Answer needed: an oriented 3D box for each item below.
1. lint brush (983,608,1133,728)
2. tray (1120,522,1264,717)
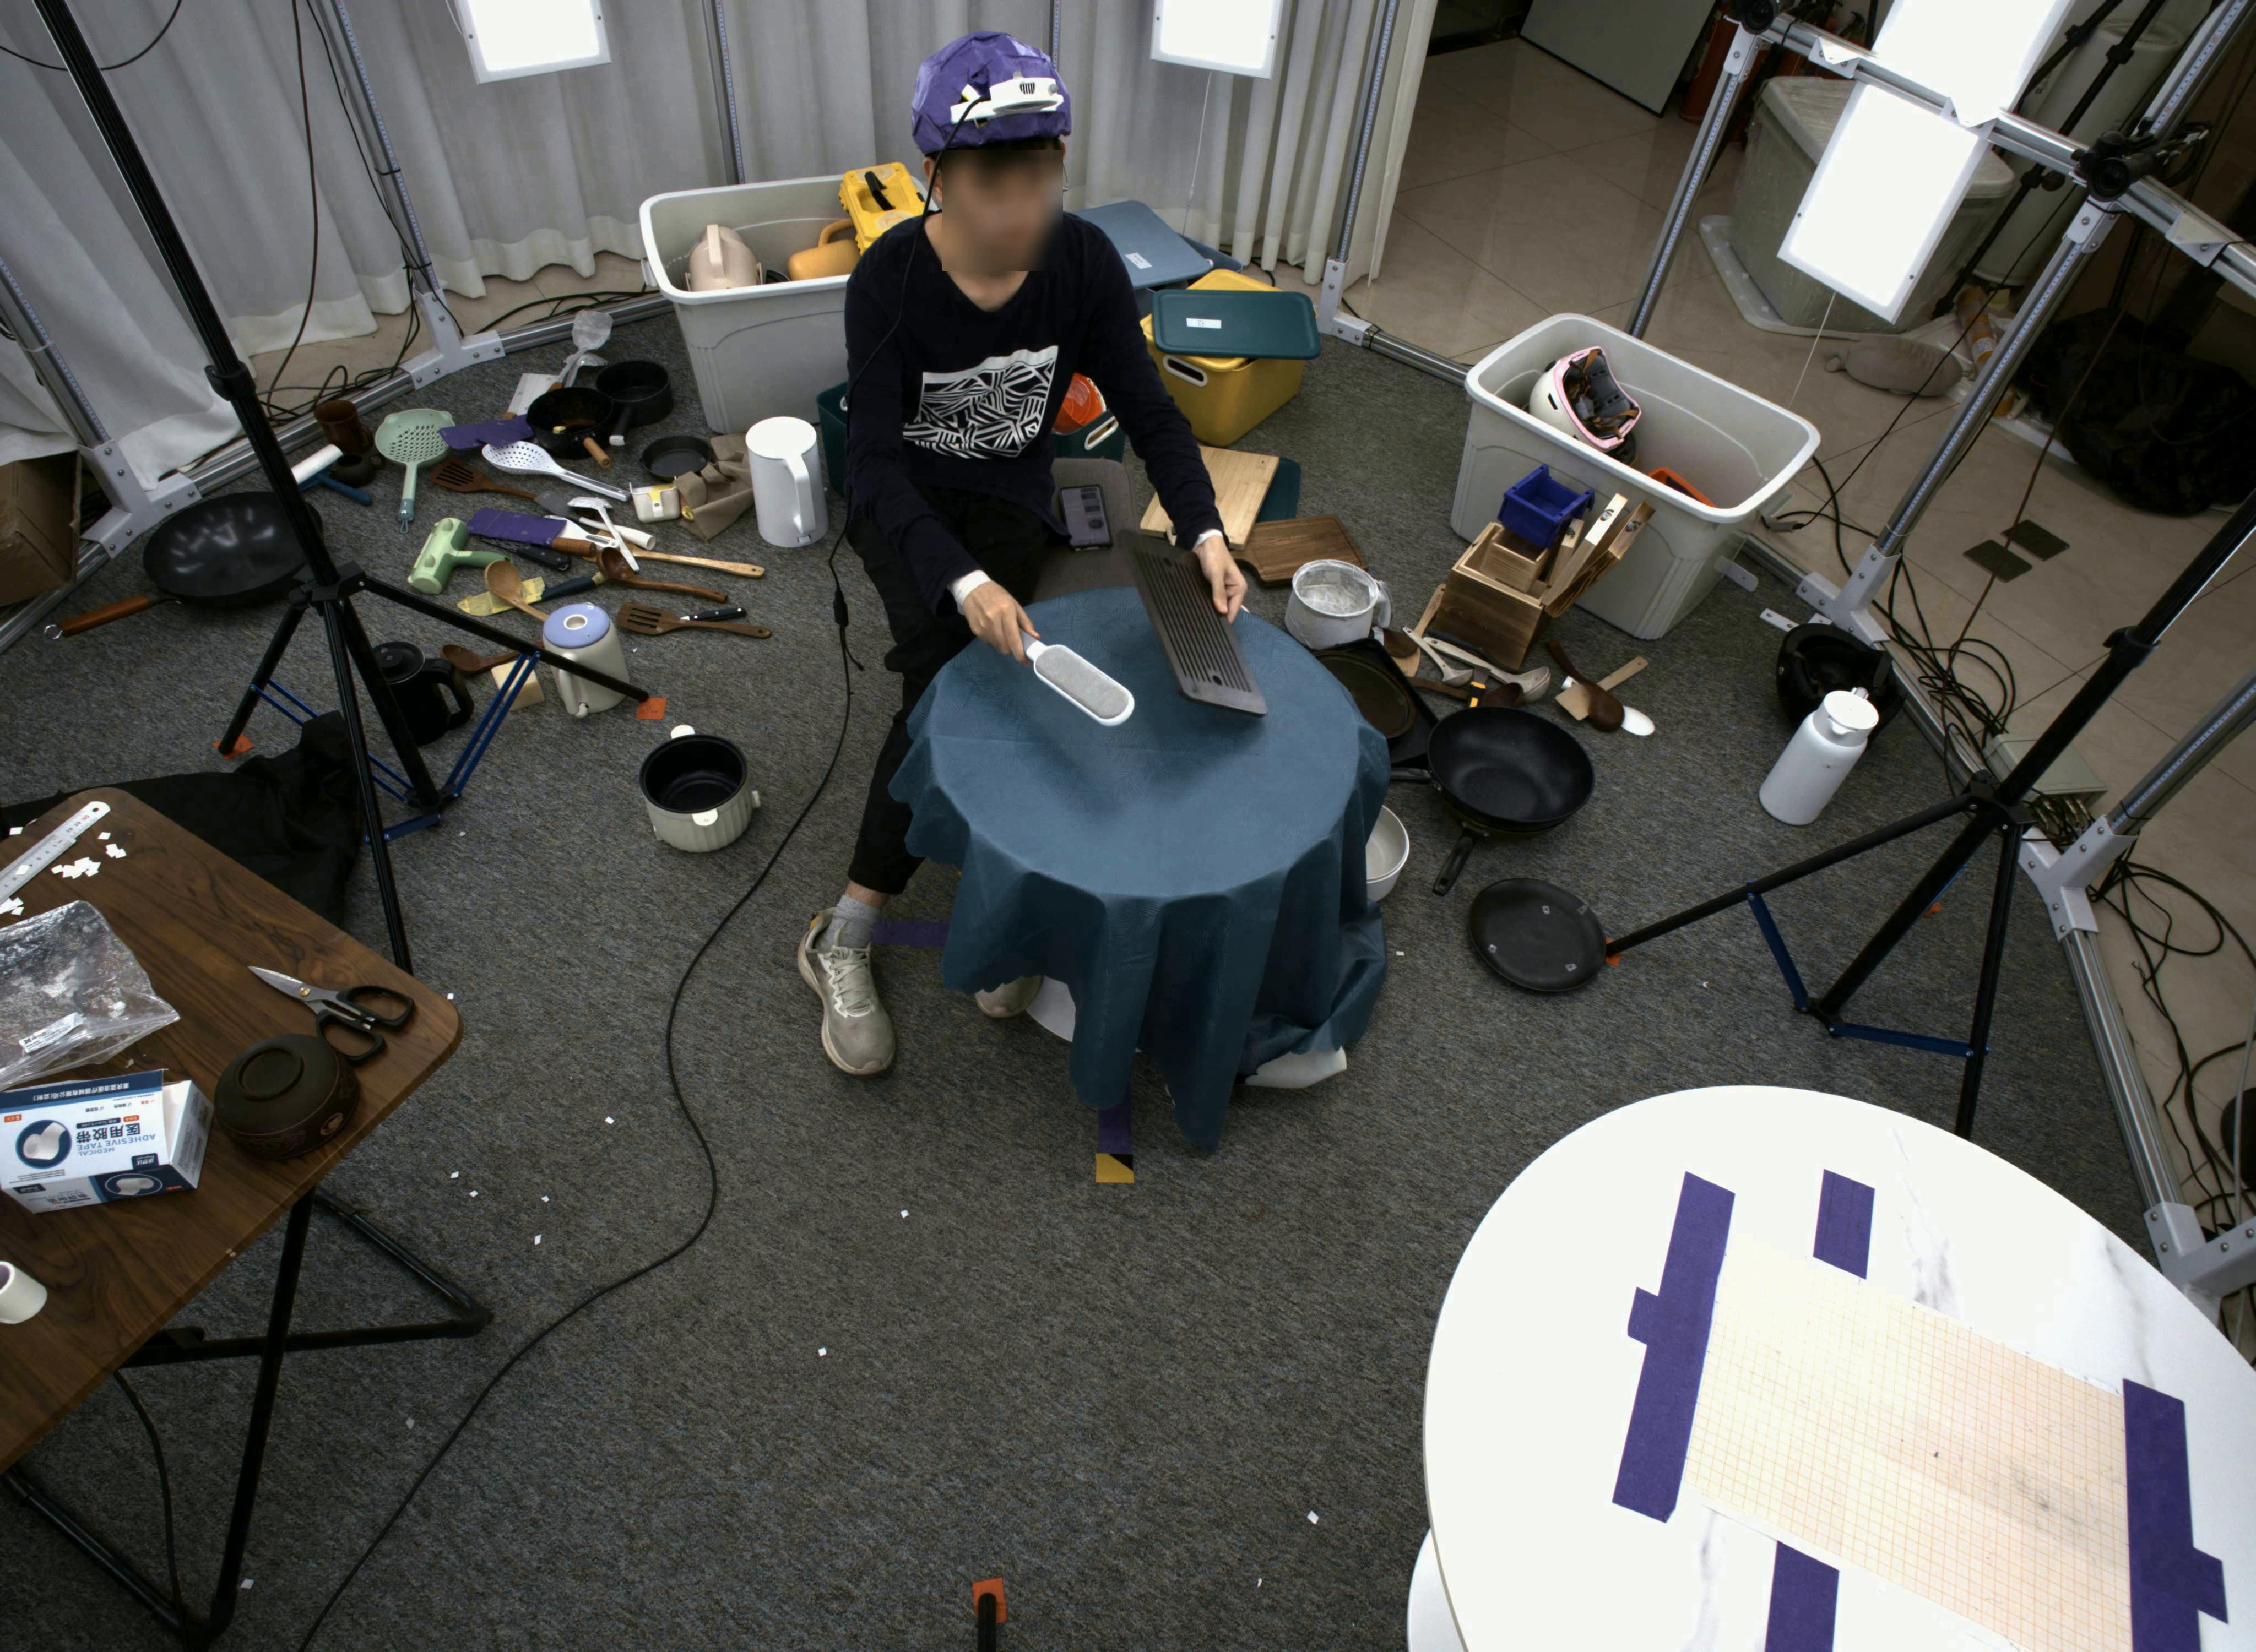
[{"bbox_3d":[-0.100,-0.221,1.734,0.060,0.020,0.314,-47,54,-5],"label":"lint brush"},{"bbox_3d":[0.087,-0.291,1.816,0.168,0.018,0.312,11,50,-43],"label":"tray"}]
